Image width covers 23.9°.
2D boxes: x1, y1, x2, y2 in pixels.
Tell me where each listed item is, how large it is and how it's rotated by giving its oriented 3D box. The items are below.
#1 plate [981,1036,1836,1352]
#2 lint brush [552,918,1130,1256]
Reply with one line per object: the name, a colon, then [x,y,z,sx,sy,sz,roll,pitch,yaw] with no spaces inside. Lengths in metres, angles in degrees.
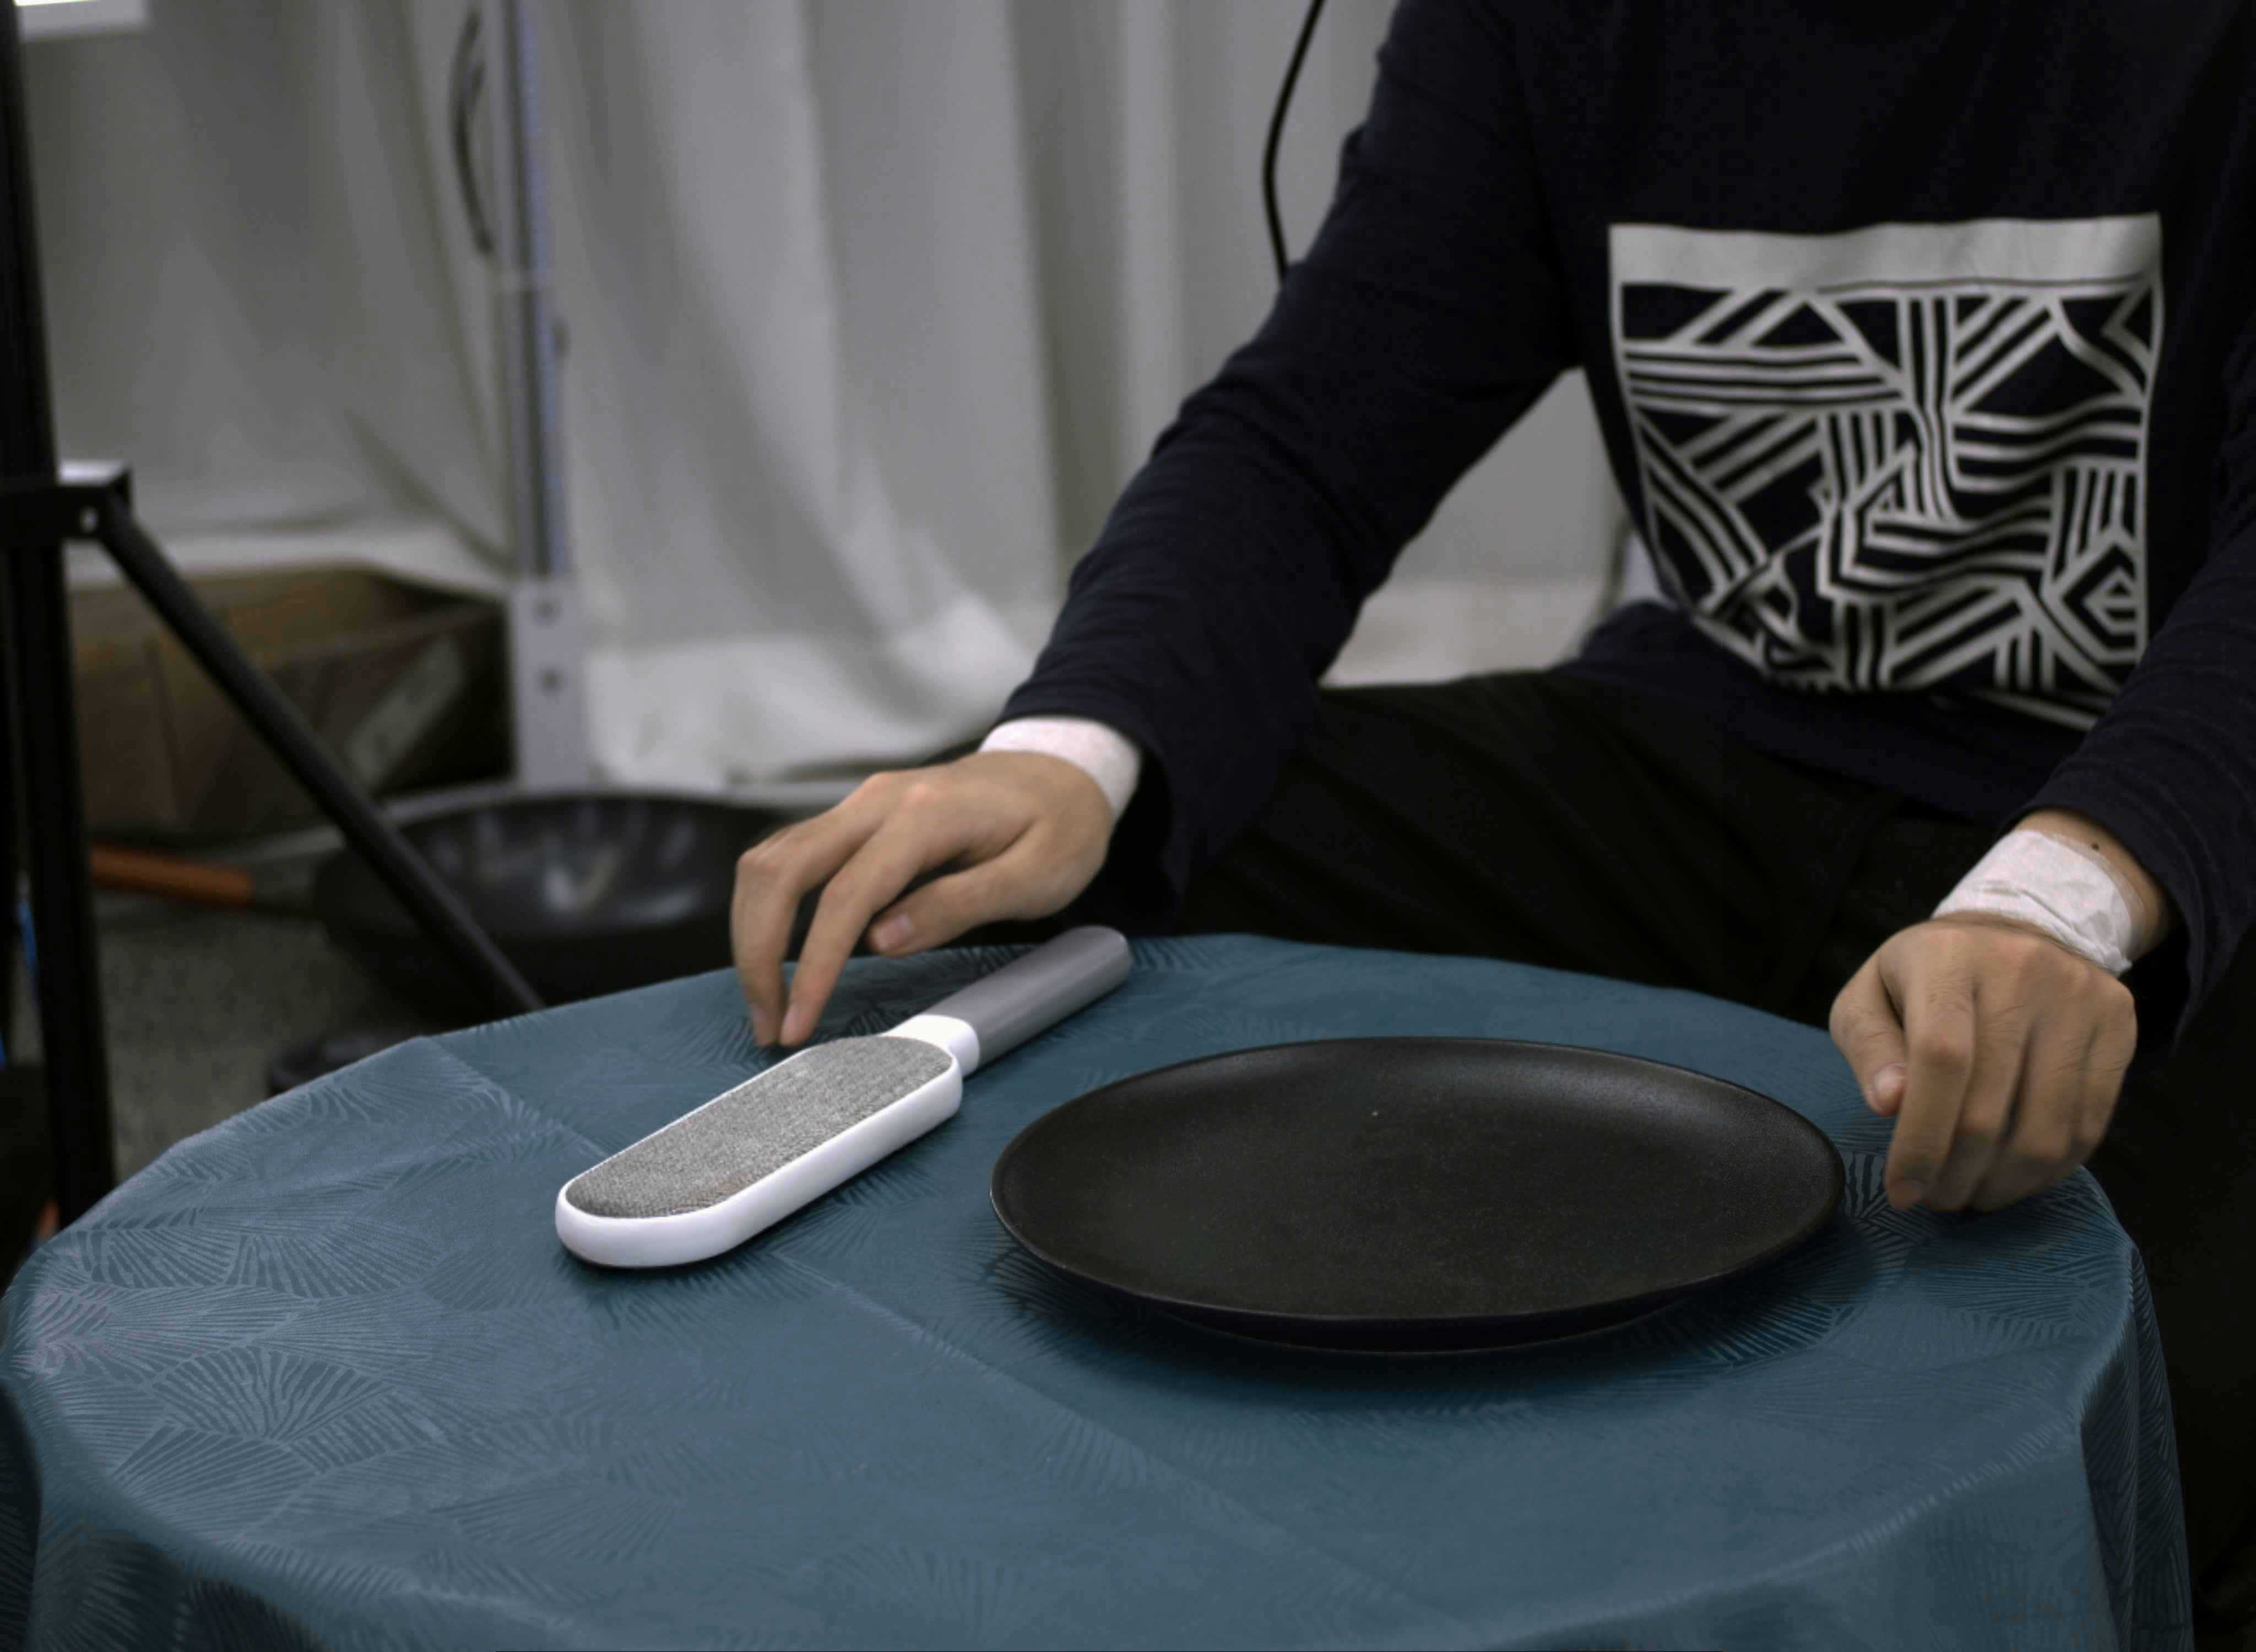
plate: [0.080,0.107,1.511,0.243,0.023,0.245,-3,16,-1]
lint brush: [-0.077,0.077,1.635,0.061,0.021,0.303,0,15,29]
